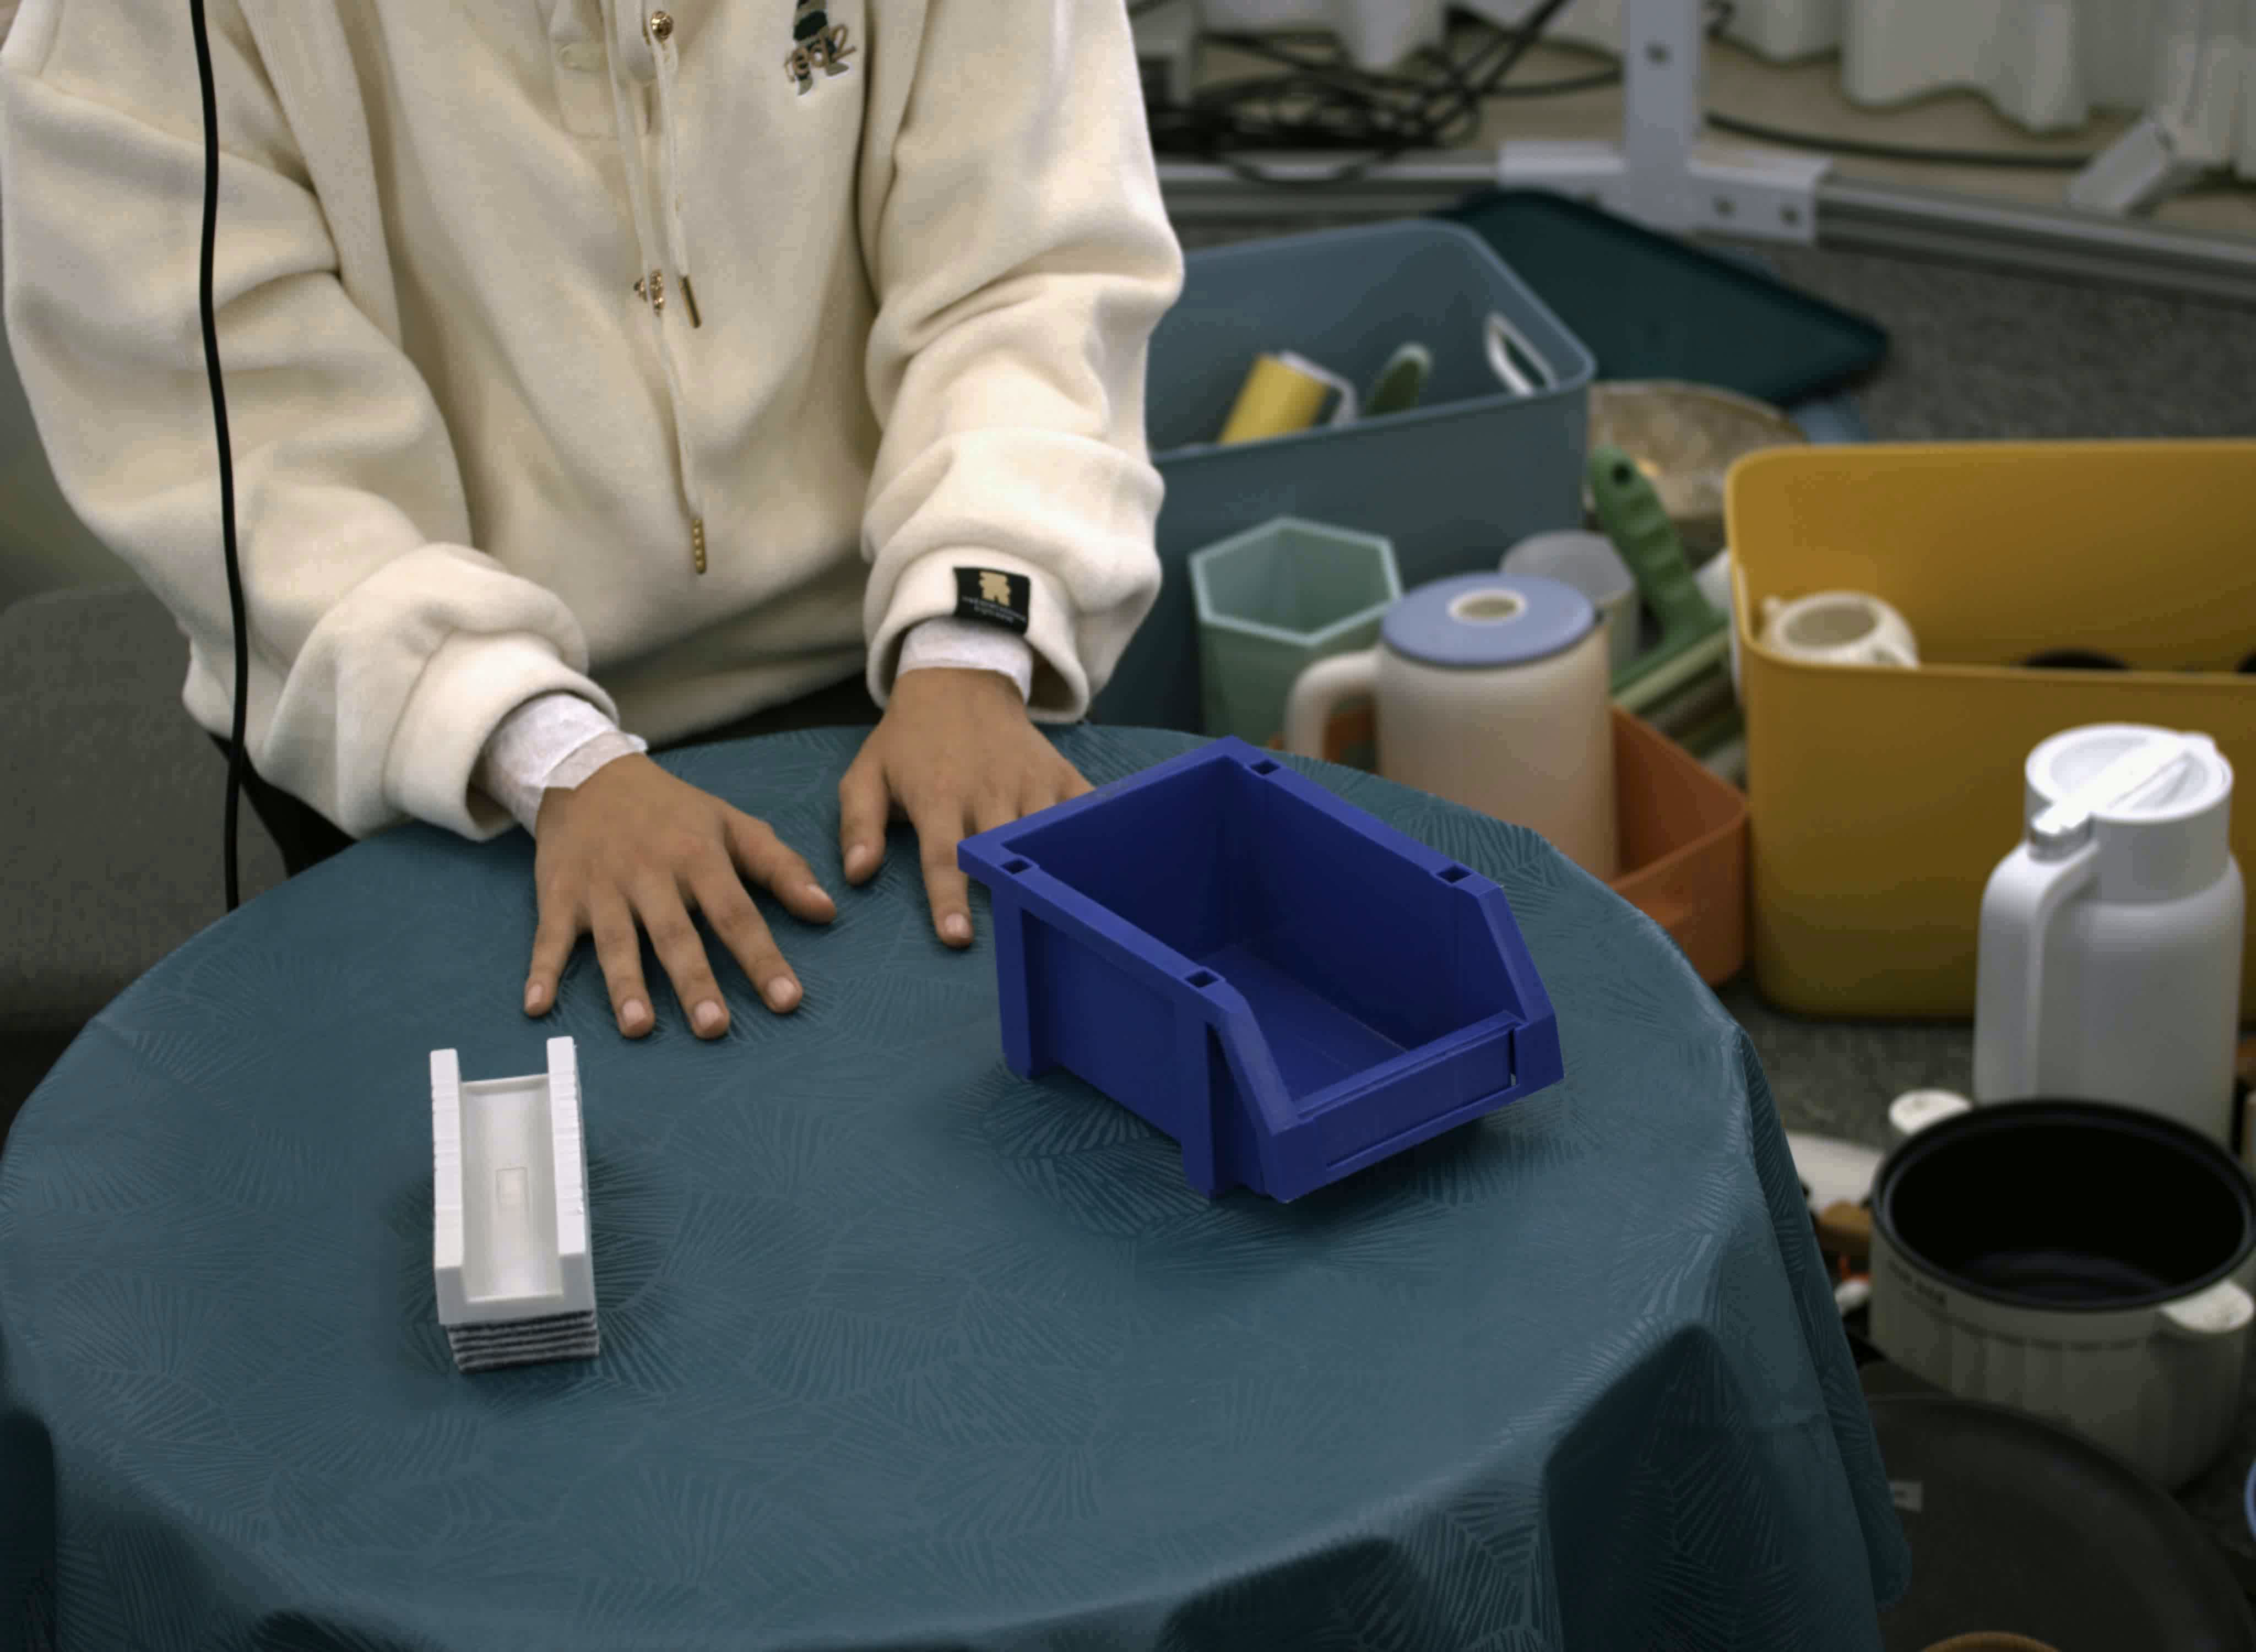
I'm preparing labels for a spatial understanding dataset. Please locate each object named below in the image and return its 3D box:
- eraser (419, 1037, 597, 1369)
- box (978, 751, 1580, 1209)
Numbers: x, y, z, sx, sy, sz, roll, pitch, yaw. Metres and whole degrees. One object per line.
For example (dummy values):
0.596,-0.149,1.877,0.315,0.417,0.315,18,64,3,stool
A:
-0.202,0.122,1.829,0.049,0.046,0.136,-9,29,-6,eraser
0.051,0.055,1.896,0.125,0.081,0.179,-20,29,-29,box
